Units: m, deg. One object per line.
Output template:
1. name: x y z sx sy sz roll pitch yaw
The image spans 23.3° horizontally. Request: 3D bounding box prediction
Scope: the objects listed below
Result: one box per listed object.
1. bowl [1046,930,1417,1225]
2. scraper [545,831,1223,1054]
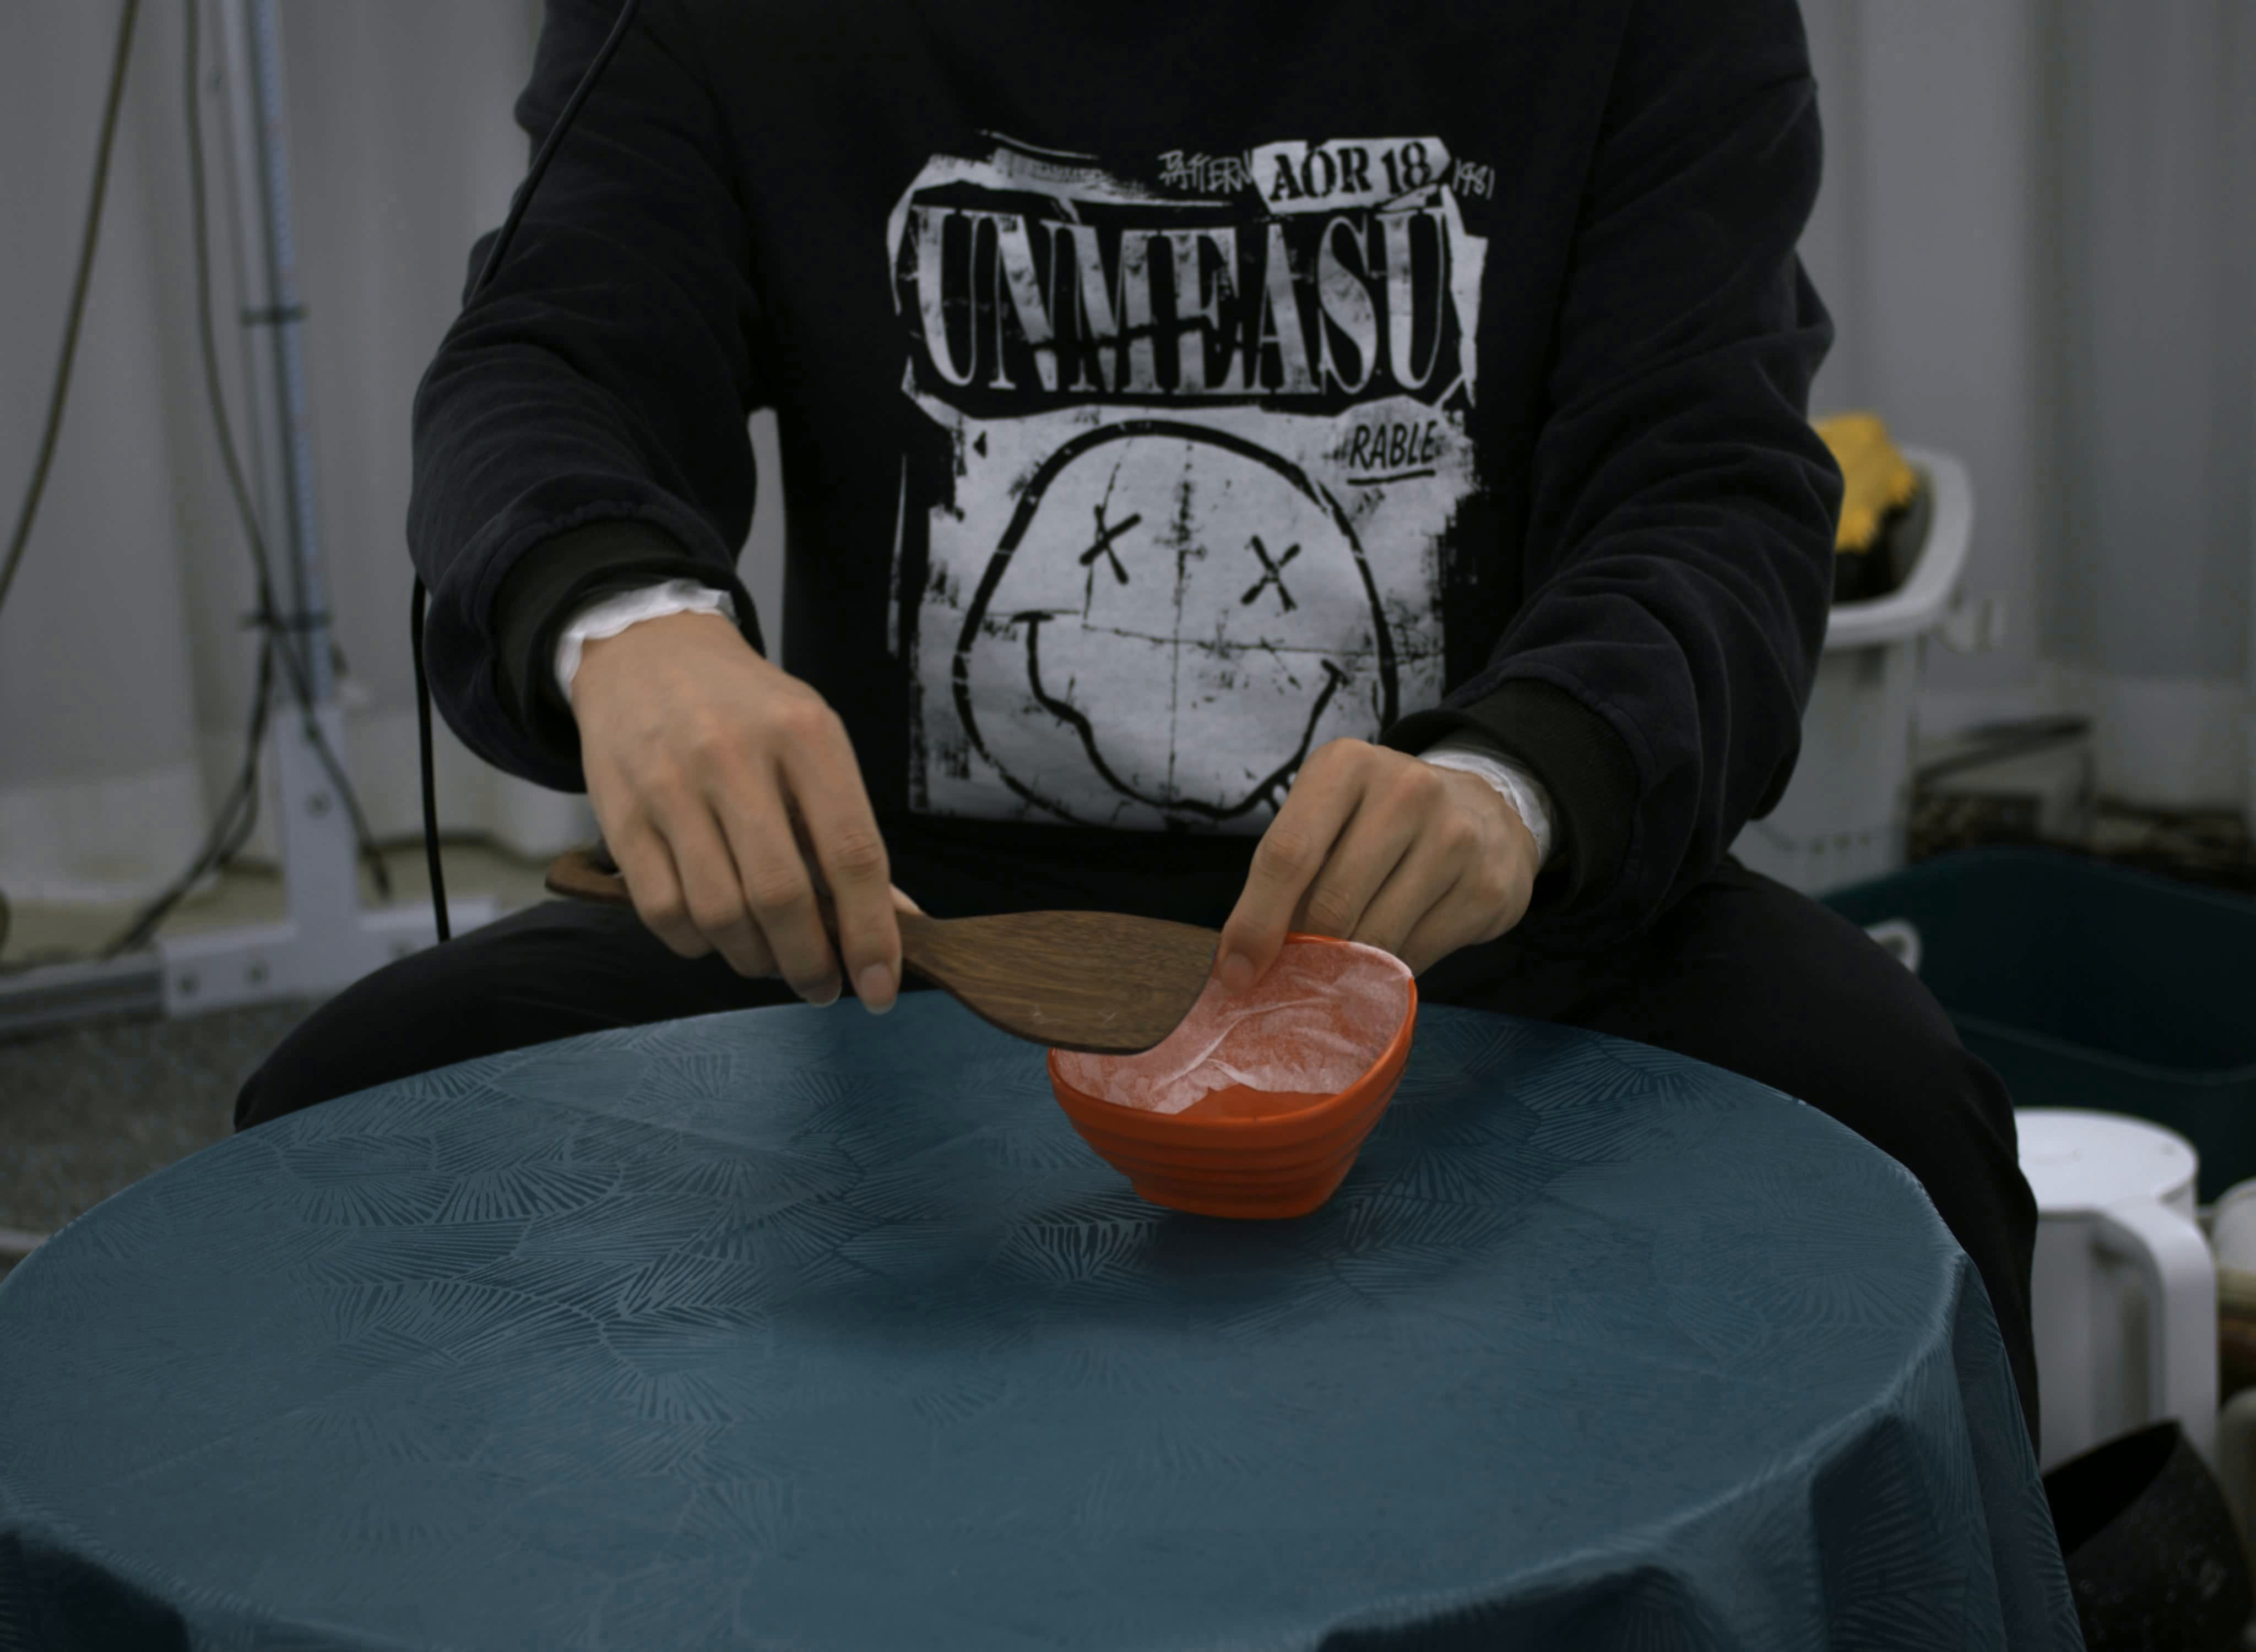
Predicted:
1. bowl: 0.035 0.082 1.679 0.118 0.051 0.120 -6 30 3
2. scraper: -0.077 0.030 1.659 0.211 0.011 0.076 13 31 14
